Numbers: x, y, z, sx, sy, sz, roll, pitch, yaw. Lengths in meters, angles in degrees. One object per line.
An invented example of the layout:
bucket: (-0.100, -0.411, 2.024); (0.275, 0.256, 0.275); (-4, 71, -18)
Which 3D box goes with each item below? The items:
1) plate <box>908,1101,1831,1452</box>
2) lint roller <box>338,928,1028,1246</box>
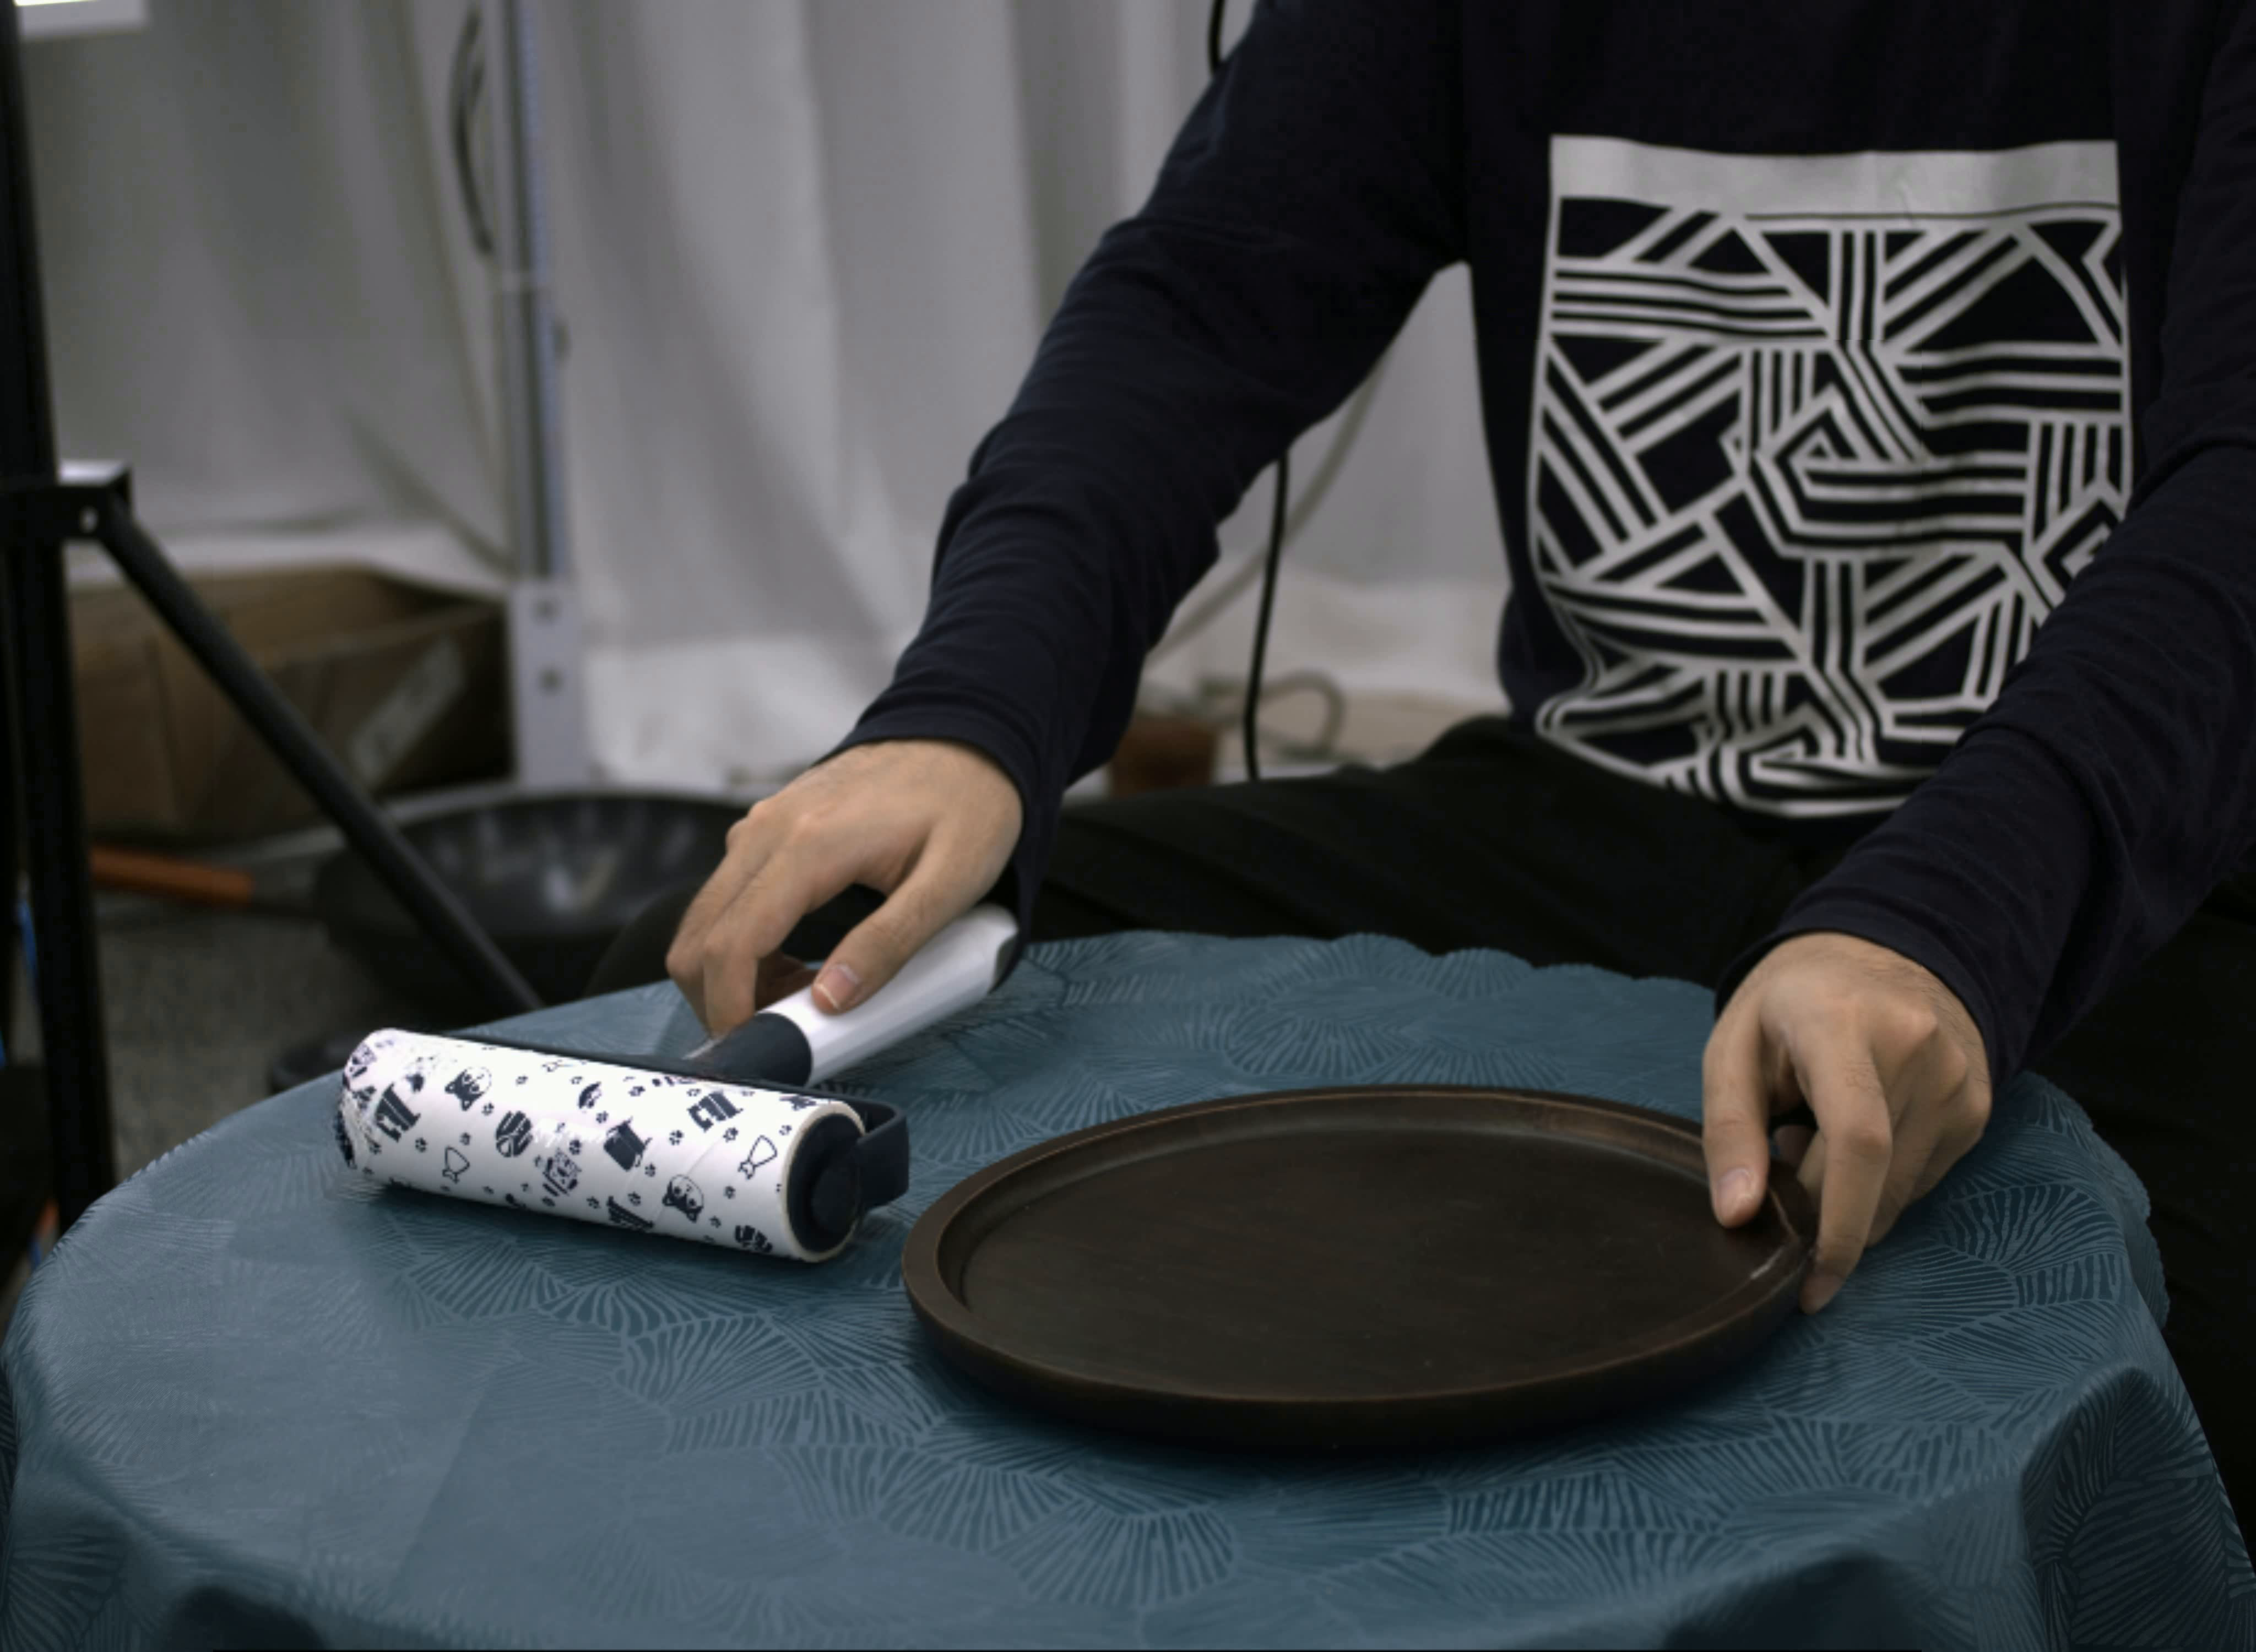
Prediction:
plate: (0.066, 0.120, 1.456); (0.253, 0.029, 0.256); (-3, 14, -1)
lint roller: (-0.103, 0.065, 1.637); (0.179, 0.050, 0.242); (6, 18, 31)
